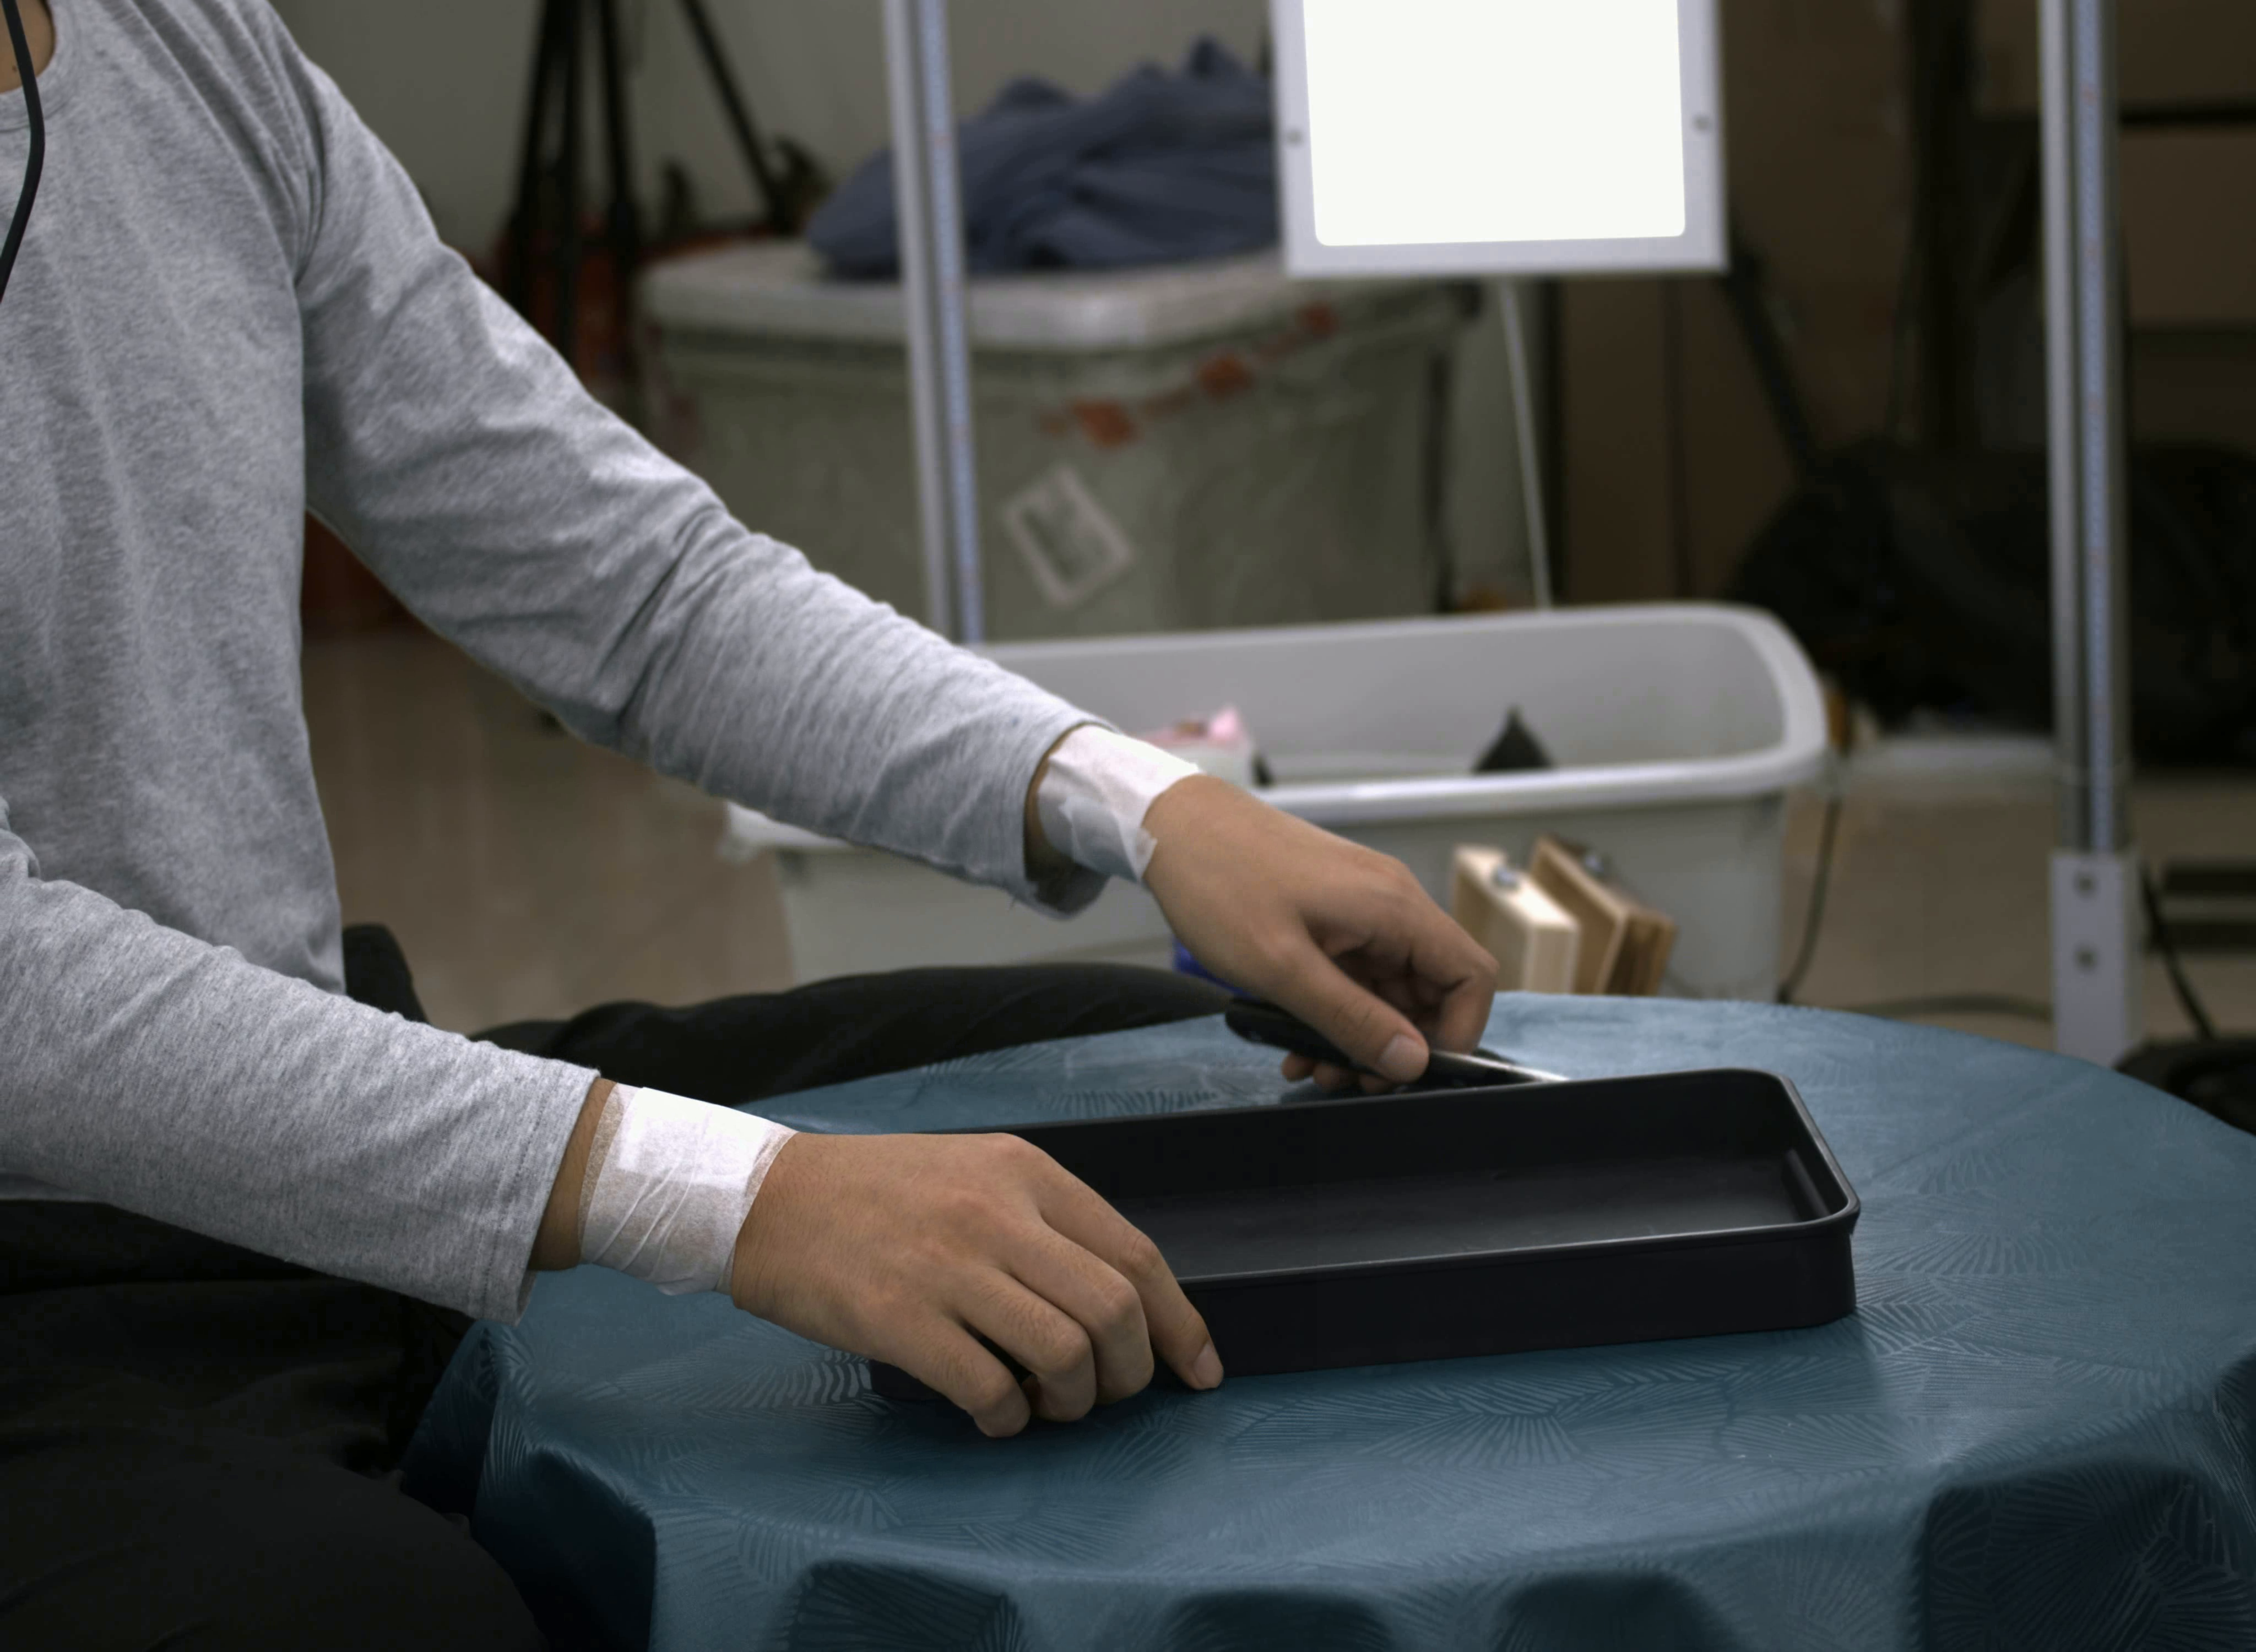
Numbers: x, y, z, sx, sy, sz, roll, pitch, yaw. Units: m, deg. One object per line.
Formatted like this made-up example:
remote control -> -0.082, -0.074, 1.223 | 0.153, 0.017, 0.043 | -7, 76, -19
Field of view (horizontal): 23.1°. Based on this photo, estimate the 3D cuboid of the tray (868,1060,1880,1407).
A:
tray -> 0.076, 0.130, 1.787 | 0.317, 0.037, 0.184 | -6, 13, 0

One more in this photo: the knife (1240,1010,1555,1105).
knife -> 0.139, 0.092, 1.943 | 0.243, 0.016, 0.024 | 11, -20, 35
